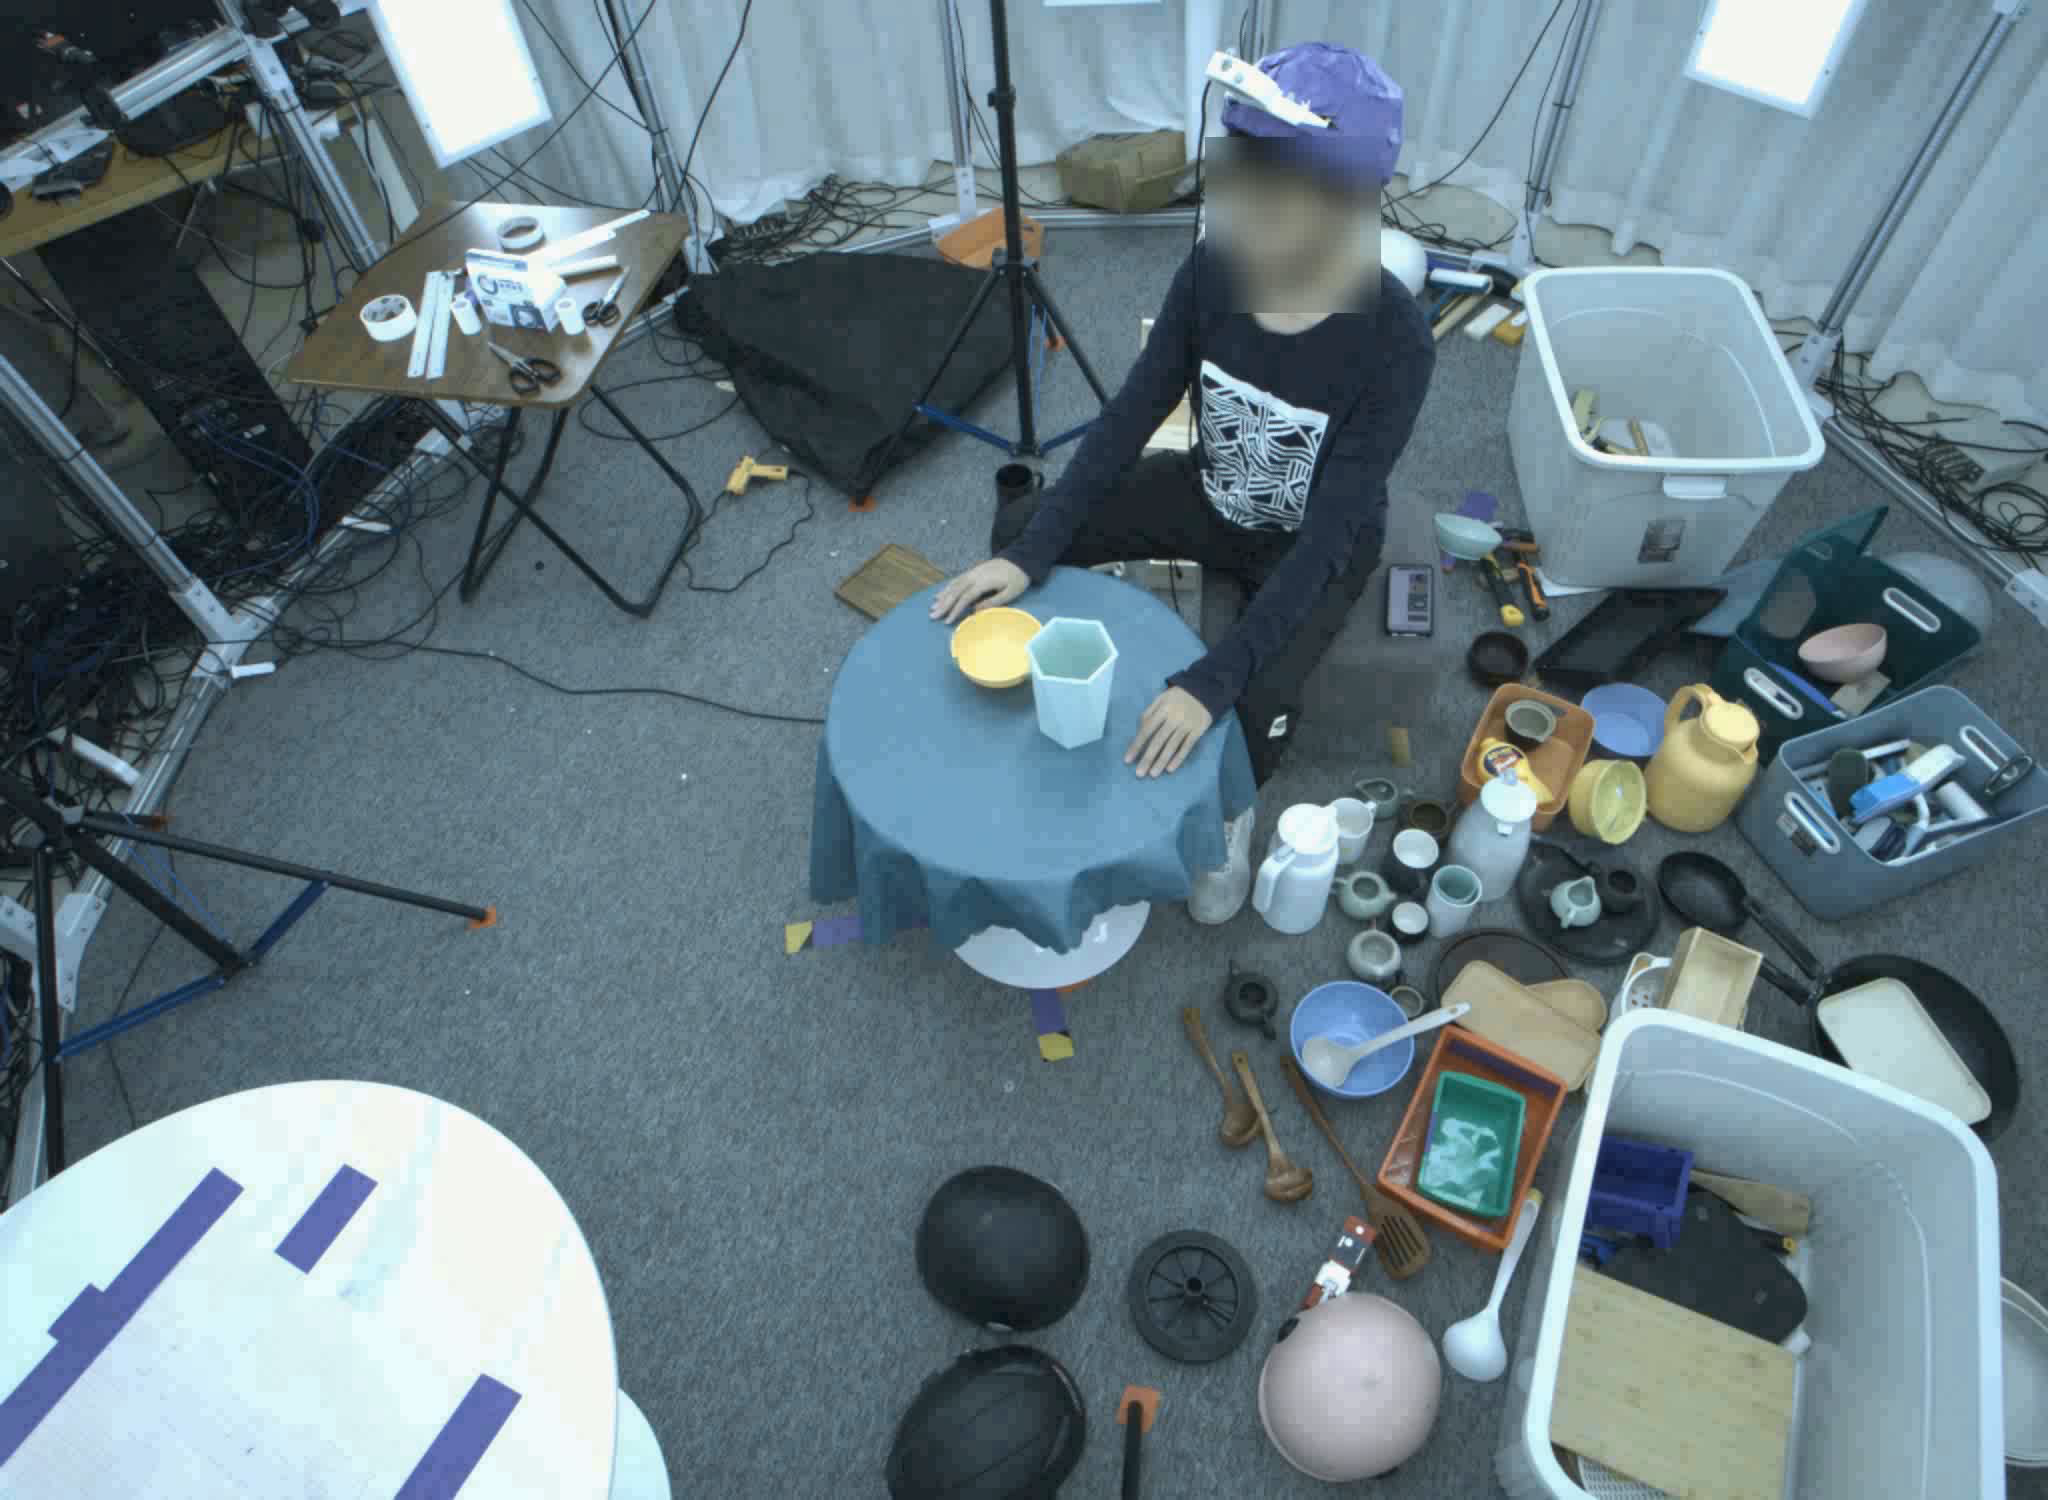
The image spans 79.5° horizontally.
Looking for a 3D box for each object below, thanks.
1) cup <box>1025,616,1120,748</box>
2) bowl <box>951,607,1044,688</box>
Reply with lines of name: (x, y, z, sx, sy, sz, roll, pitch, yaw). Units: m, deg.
cup: (0.069, -0.090, 1.740, 0.116, 0.164, 0.129, -19, 56, -11)
bowl: (-0.037, -0.143, 1.850, 0.145, 0.060, 0.144, 1, 54, 0)
